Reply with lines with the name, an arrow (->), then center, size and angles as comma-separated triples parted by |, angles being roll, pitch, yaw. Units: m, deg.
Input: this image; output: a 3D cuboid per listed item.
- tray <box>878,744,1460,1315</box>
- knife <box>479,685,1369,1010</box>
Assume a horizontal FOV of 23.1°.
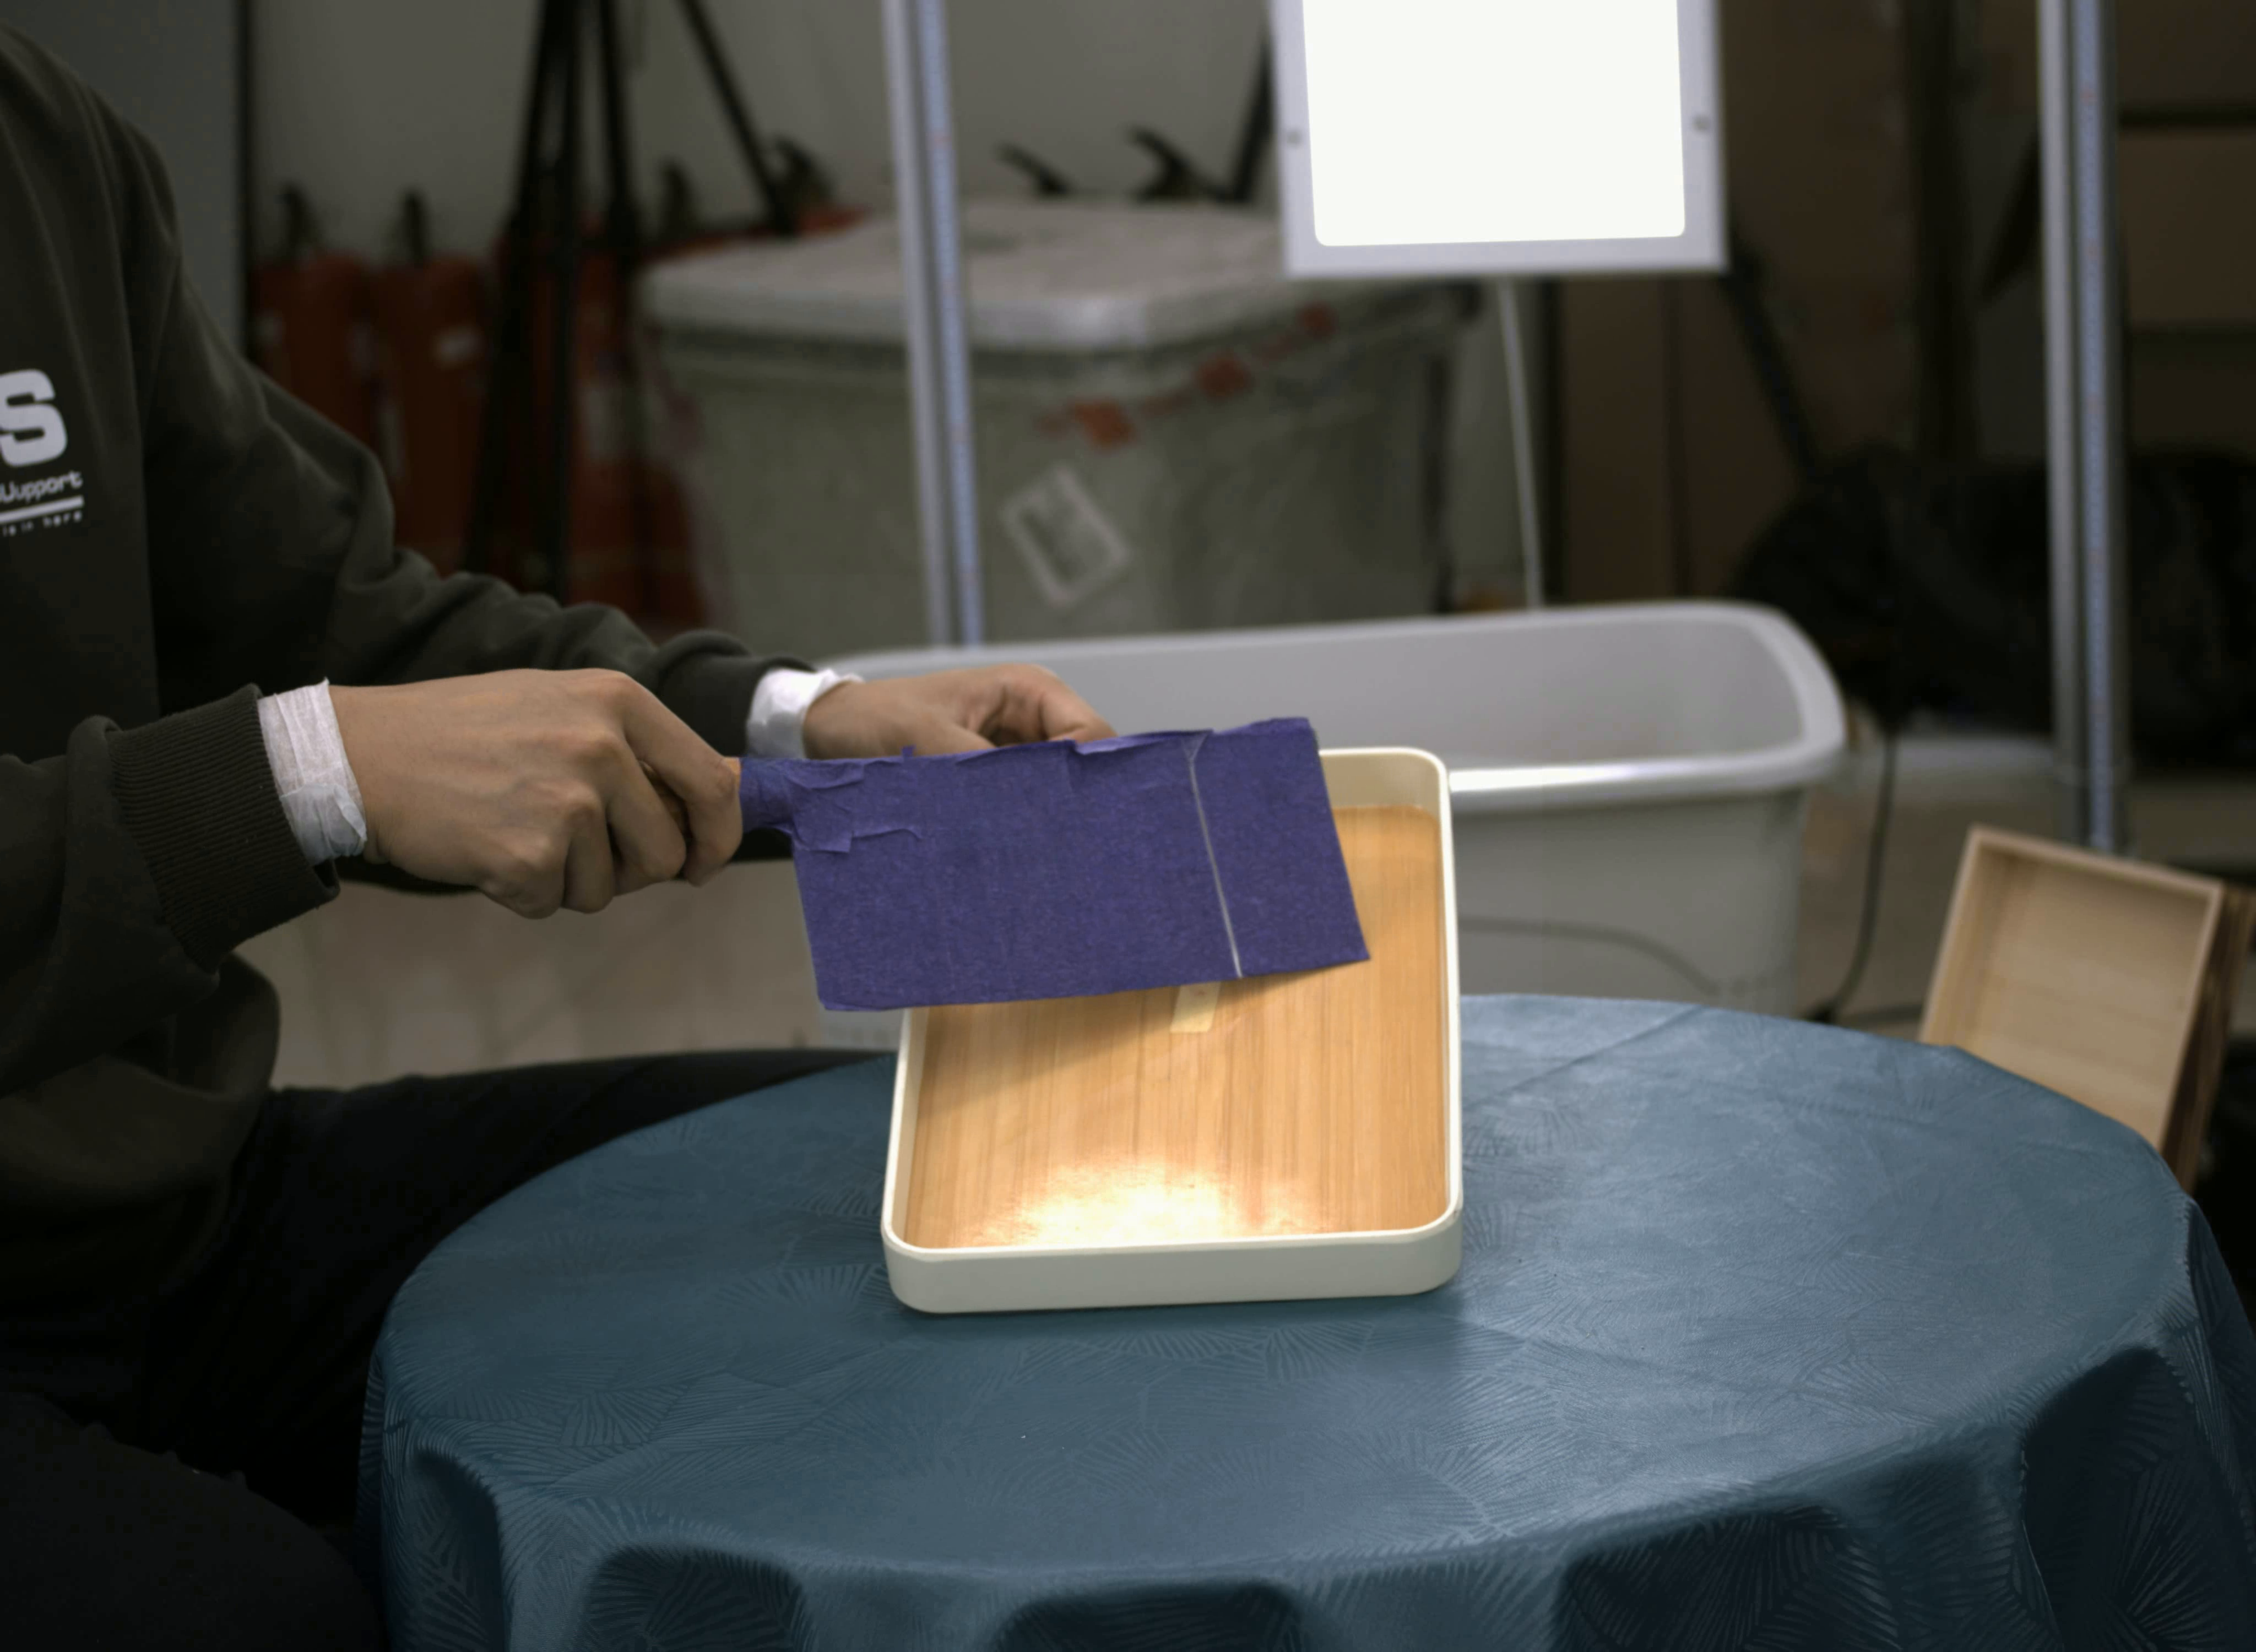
tray -> 0.018, 0.065, 1.896 | 0.192, 0.027, 0.298 | -4, 32, 6
knife -> -0.062, 0.013, 1.878 | 0.309, 0.104, 0.032 | -7, -17, -20
